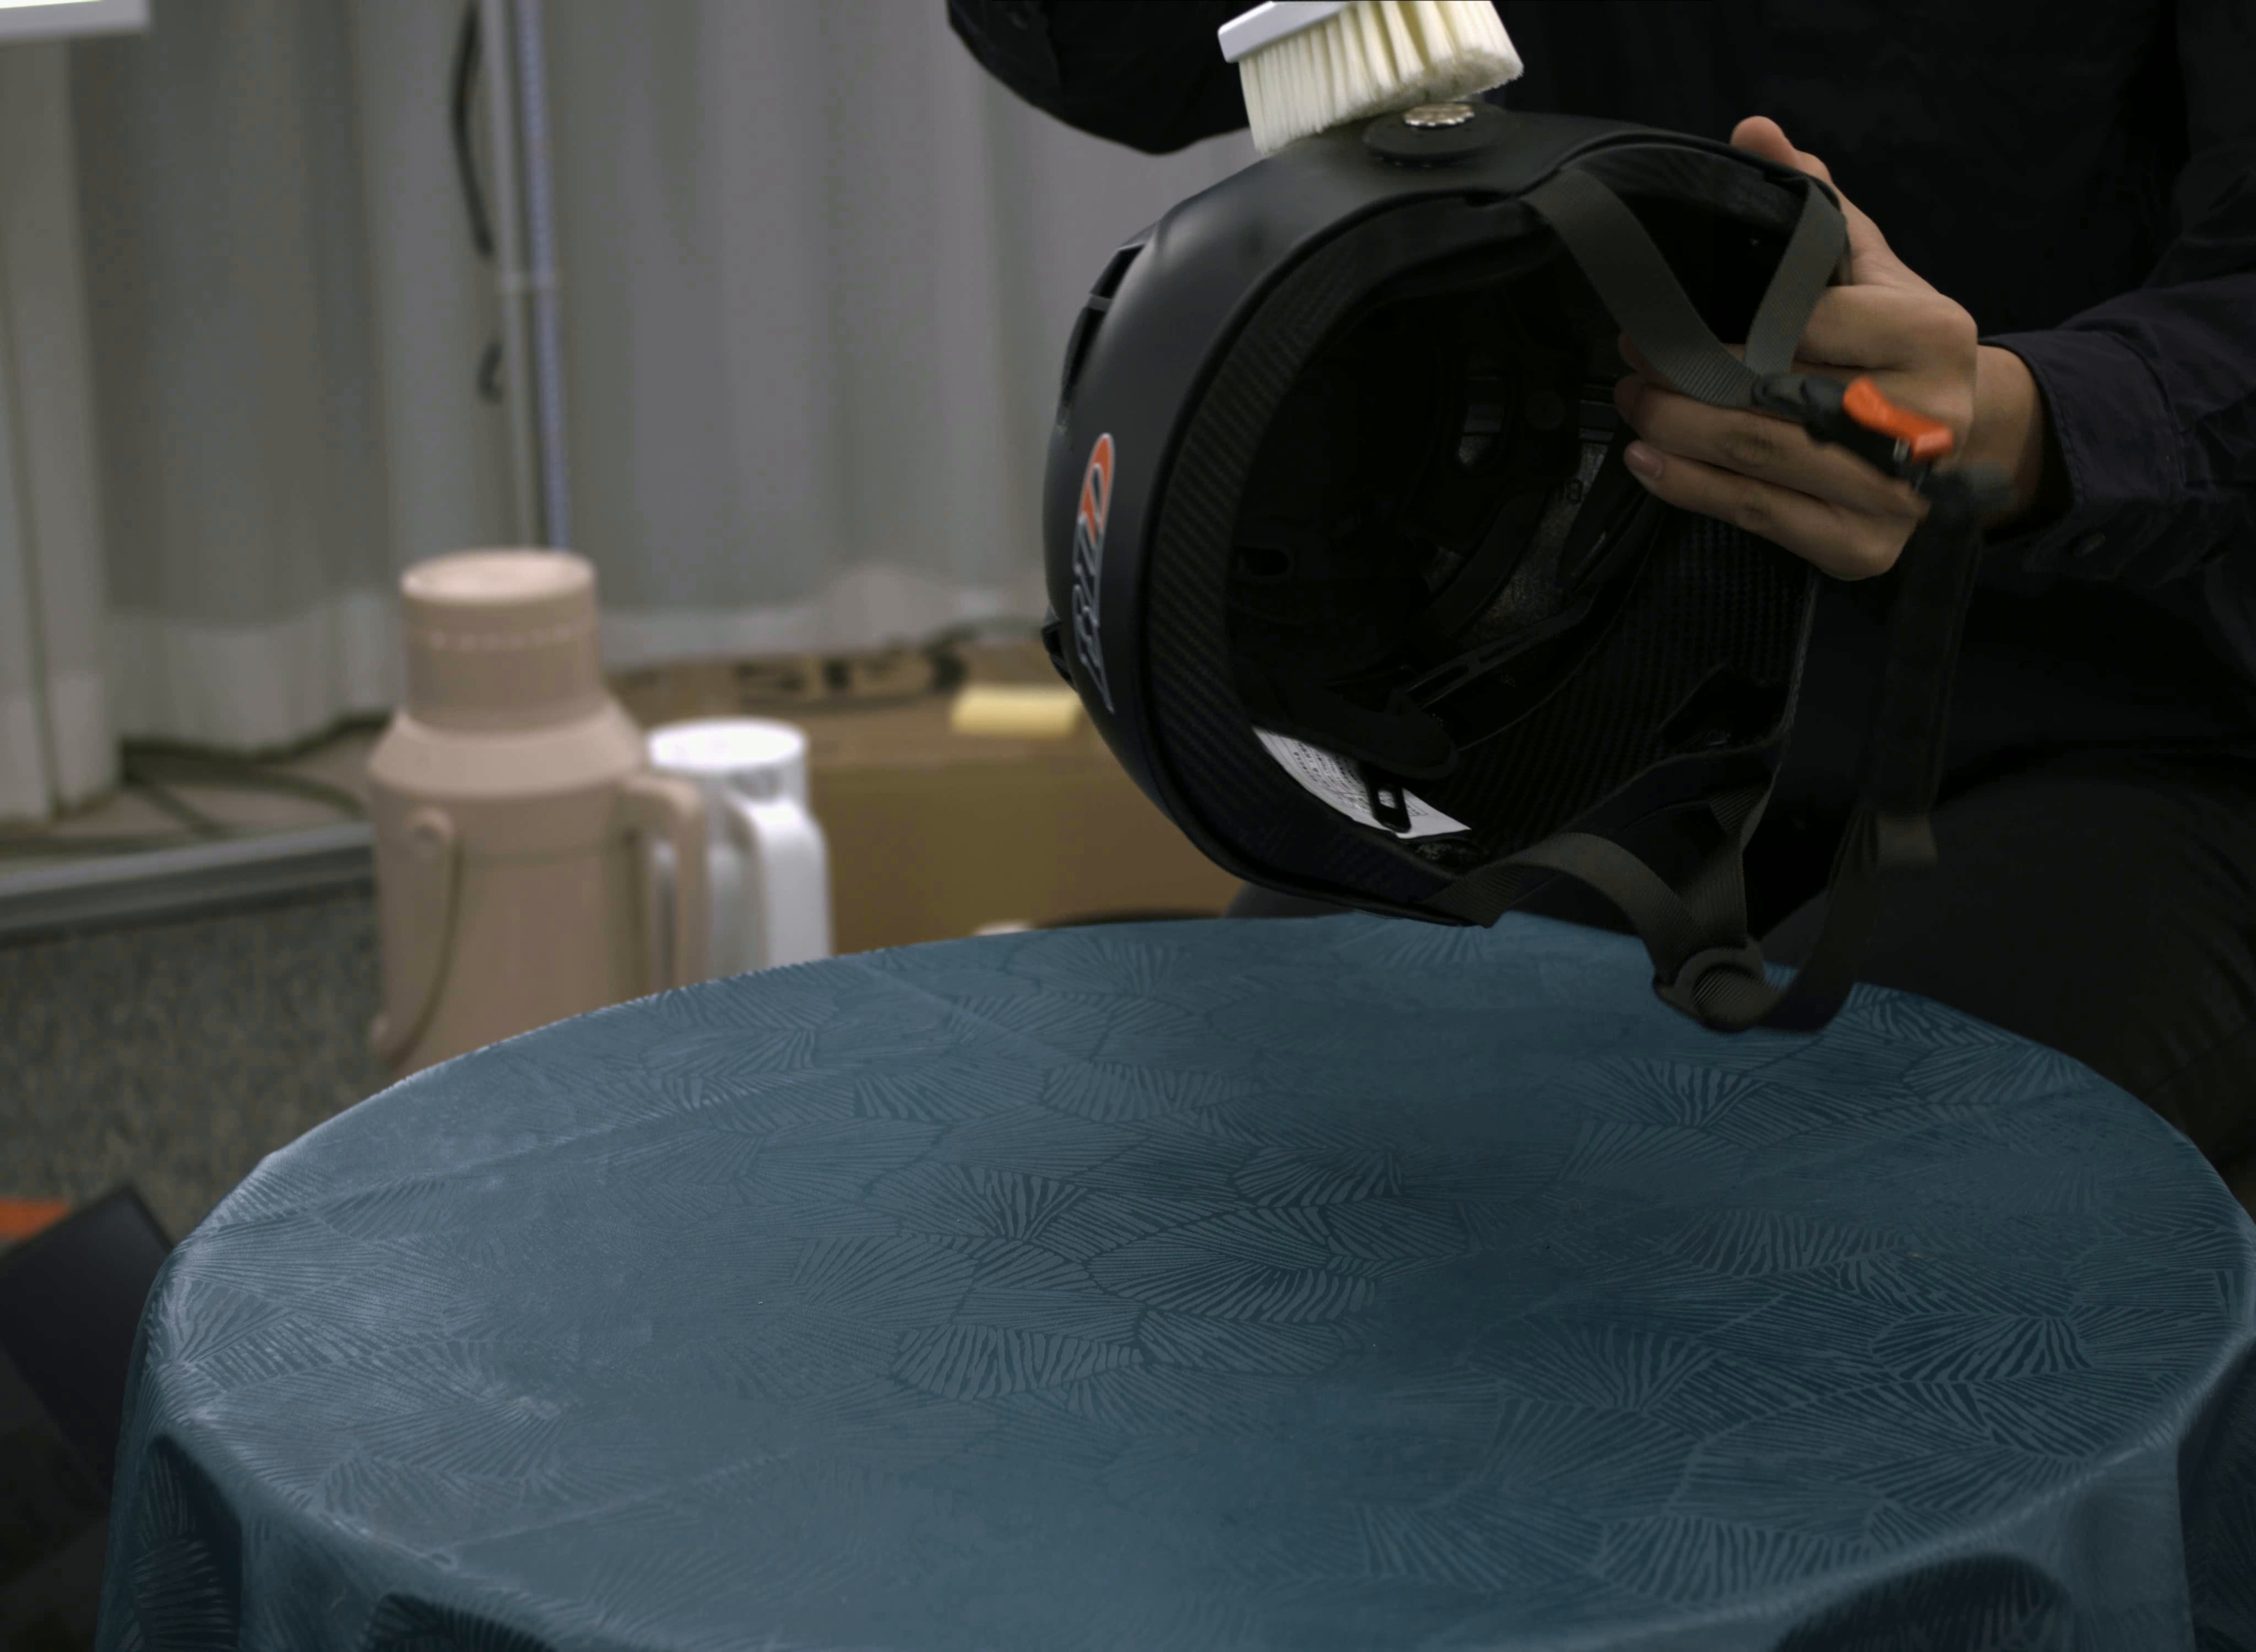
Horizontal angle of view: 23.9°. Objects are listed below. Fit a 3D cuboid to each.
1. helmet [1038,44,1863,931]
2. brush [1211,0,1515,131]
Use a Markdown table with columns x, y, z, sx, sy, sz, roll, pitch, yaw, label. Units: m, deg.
| x | y | z | sx | sy | sz | roll | pitch | yaw | label |
| --- | --- | --- | --- | --- | --- | --- | --- | --- | --- |
| 0.077 | -0.104 | 1.496 | 0.270 | 0.246 | 0.176 | -14 | 24 | -37 | helmet |
| 0.052 | -0.246 | 1.574 | 0.082 | 0.085 | 0.329 | 20 | 9 | -16 | brush |
